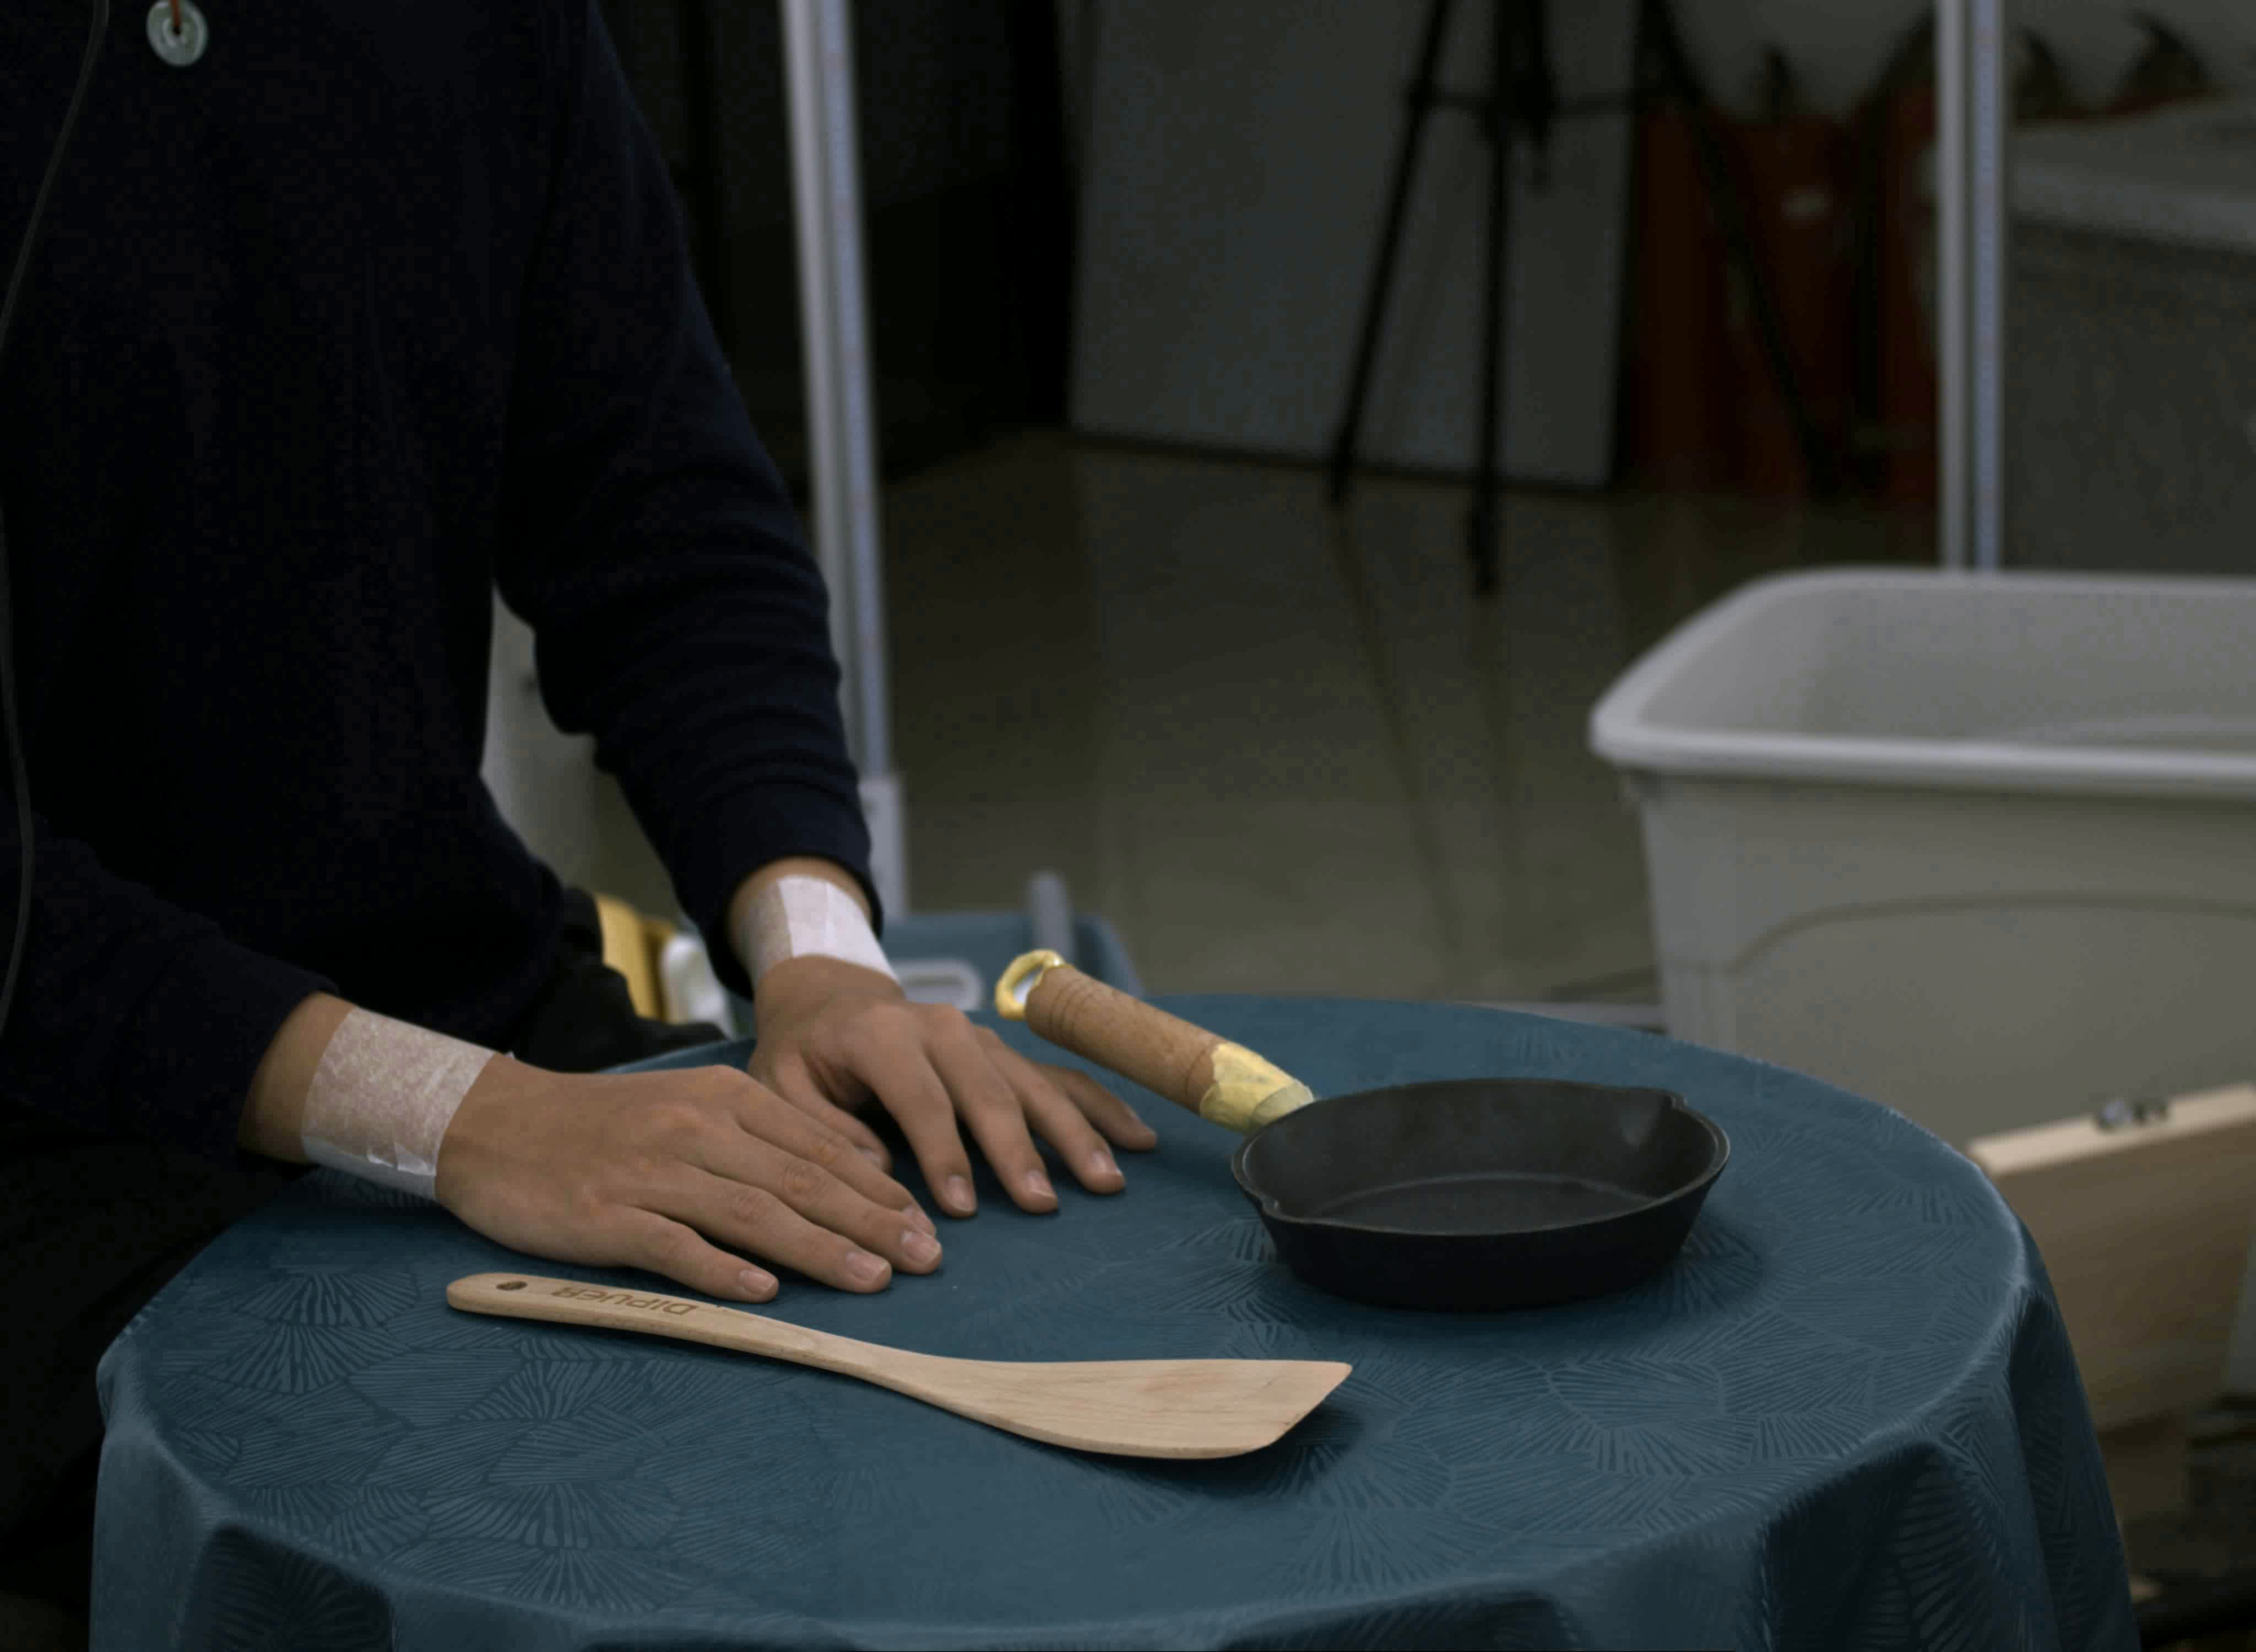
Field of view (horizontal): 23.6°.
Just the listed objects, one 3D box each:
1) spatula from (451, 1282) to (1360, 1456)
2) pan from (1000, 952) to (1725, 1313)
[{"bbox_3d":[-0.075,0.157,1.615,0.329,0.017,0.078,5,16,35],"label":"spatula"},{"bbox_3d":[0.060,0.095,1.752,0.165,0.050,0.327,-14,18,-34],"label":"pan"}]
